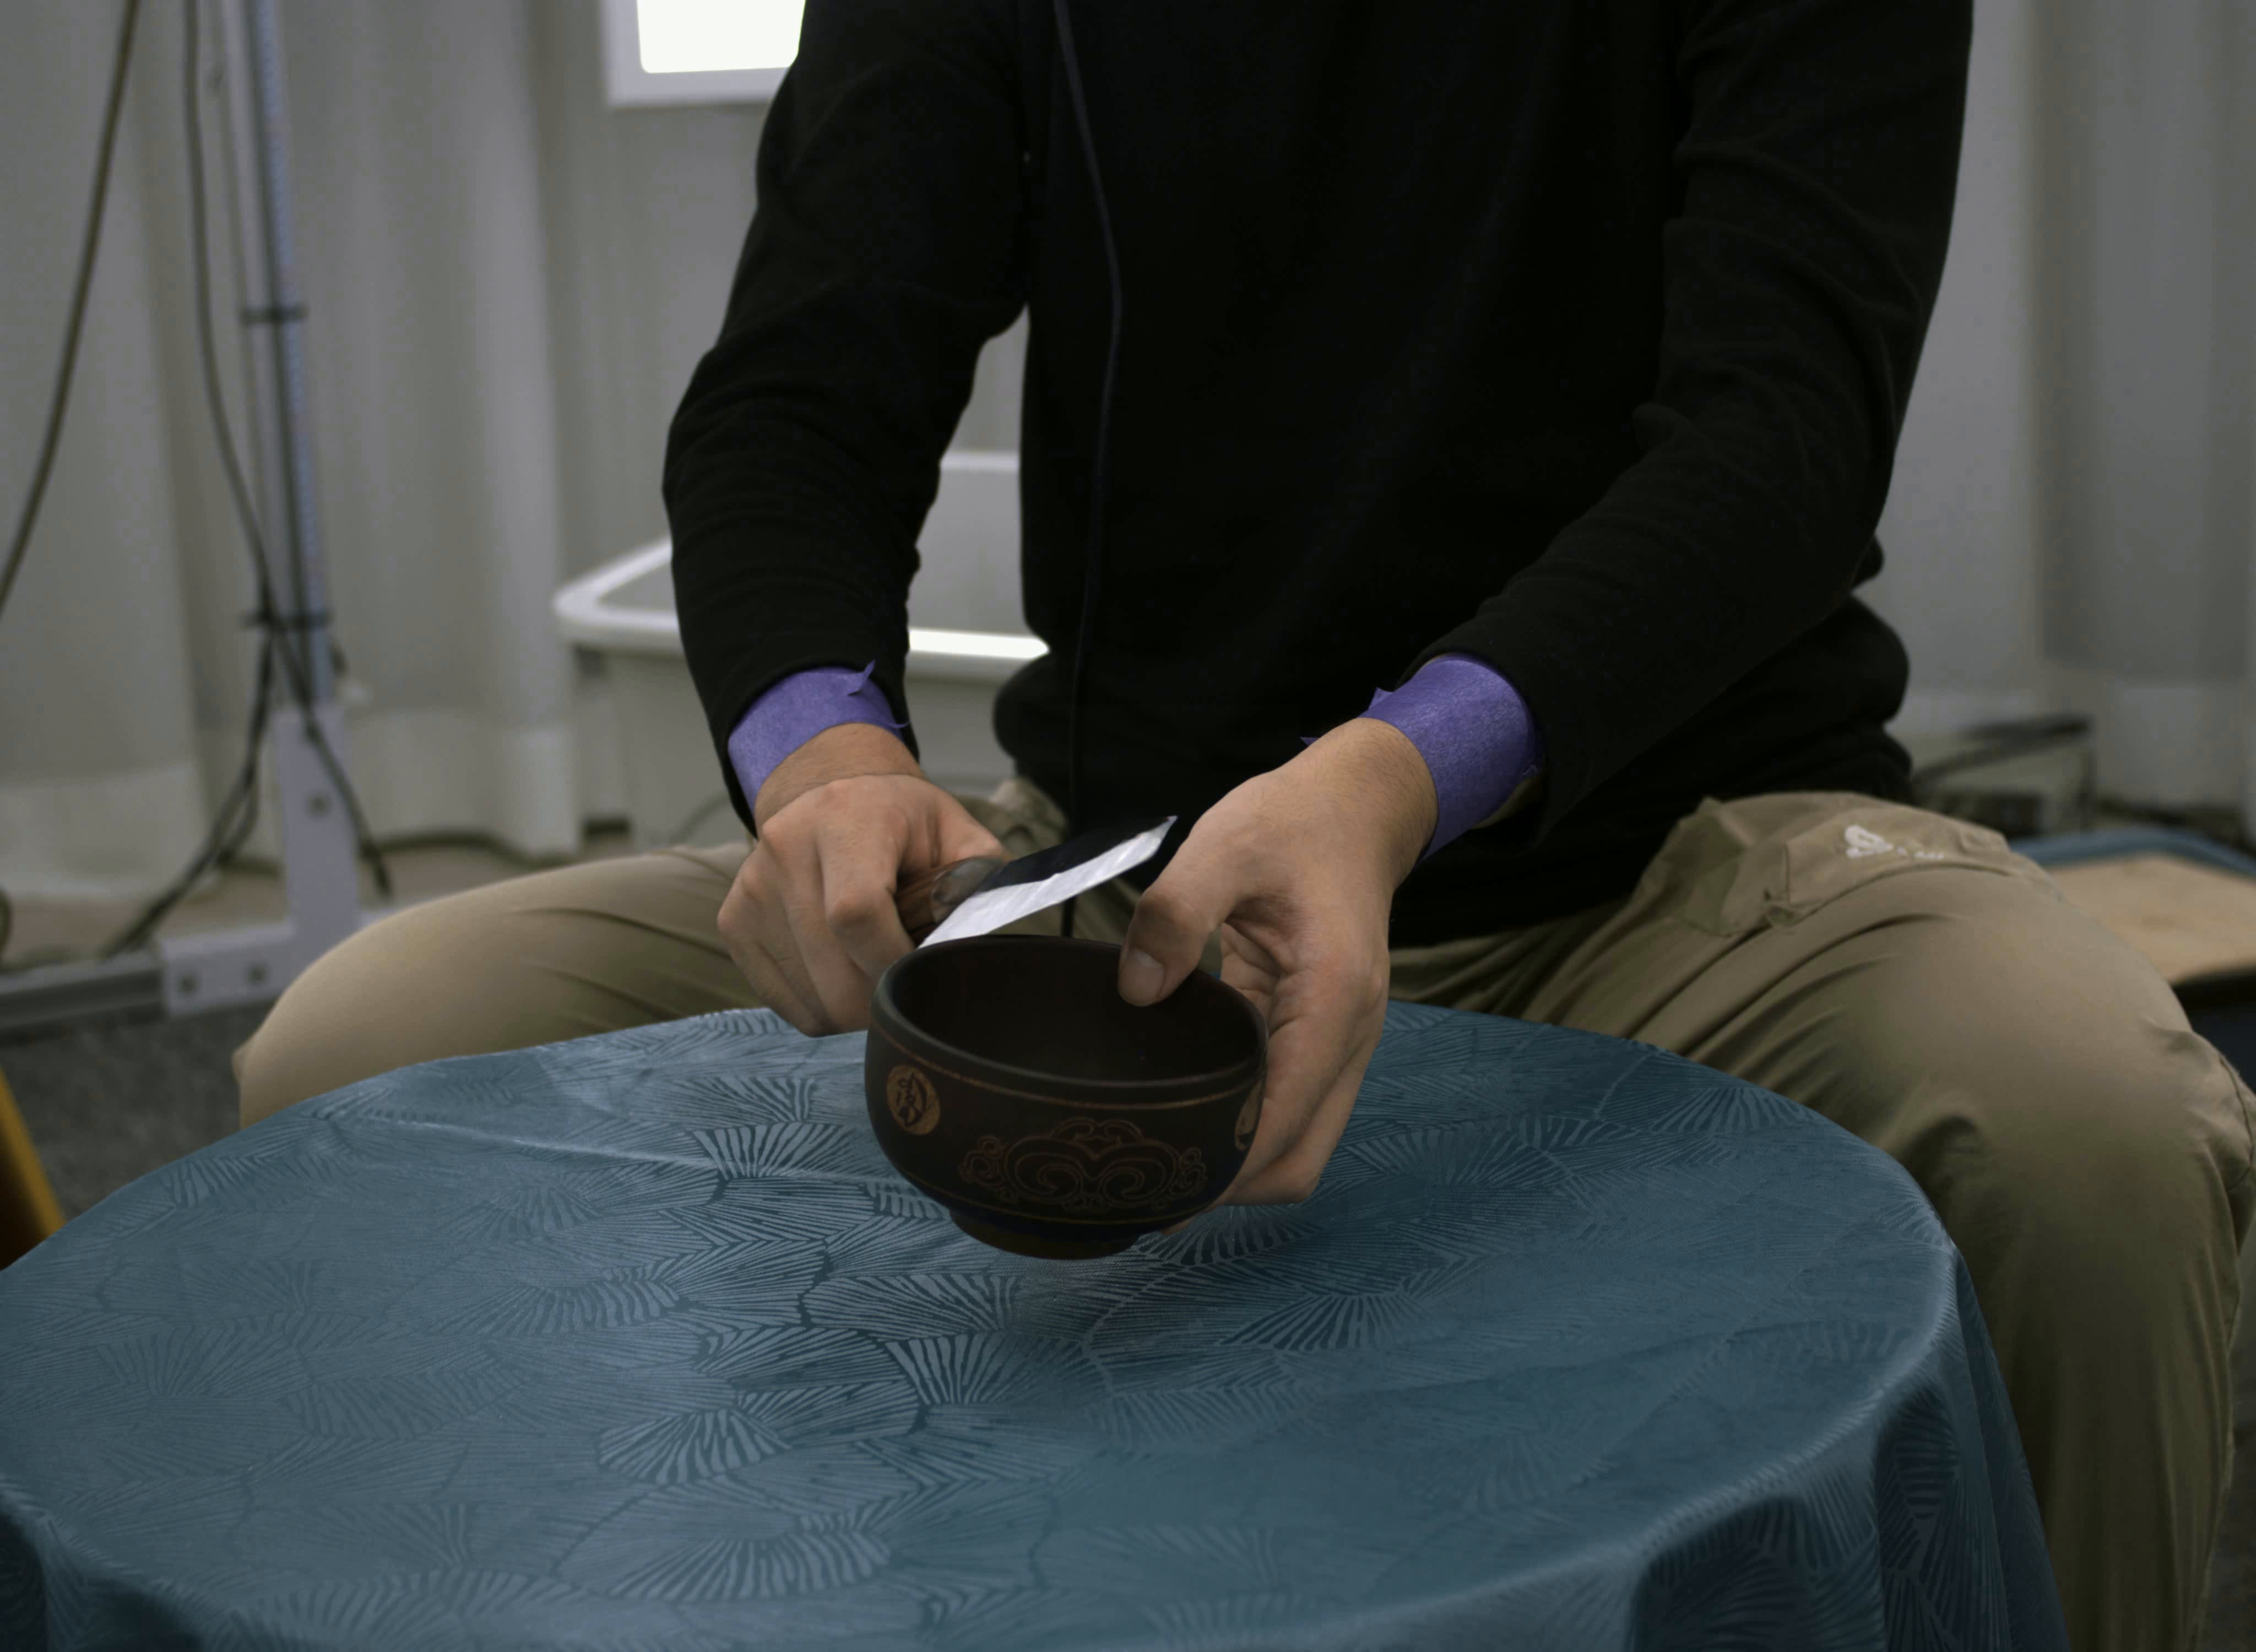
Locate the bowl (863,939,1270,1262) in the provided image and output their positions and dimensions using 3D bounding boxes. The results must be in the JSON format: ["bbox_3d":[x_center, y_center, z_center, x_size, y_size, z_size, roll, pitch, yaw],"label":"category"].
[{"bbox_3d":[-0.020,0.085,1.594,0.117,0.069,0.119,6,17,-2],"label":"bowl"}]

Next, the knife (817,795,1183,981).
[{"bbox_3d":[-0.040,0.021,1.664,0.050,0.020,0.289,-45,10,-20],"label":"knife"}]
